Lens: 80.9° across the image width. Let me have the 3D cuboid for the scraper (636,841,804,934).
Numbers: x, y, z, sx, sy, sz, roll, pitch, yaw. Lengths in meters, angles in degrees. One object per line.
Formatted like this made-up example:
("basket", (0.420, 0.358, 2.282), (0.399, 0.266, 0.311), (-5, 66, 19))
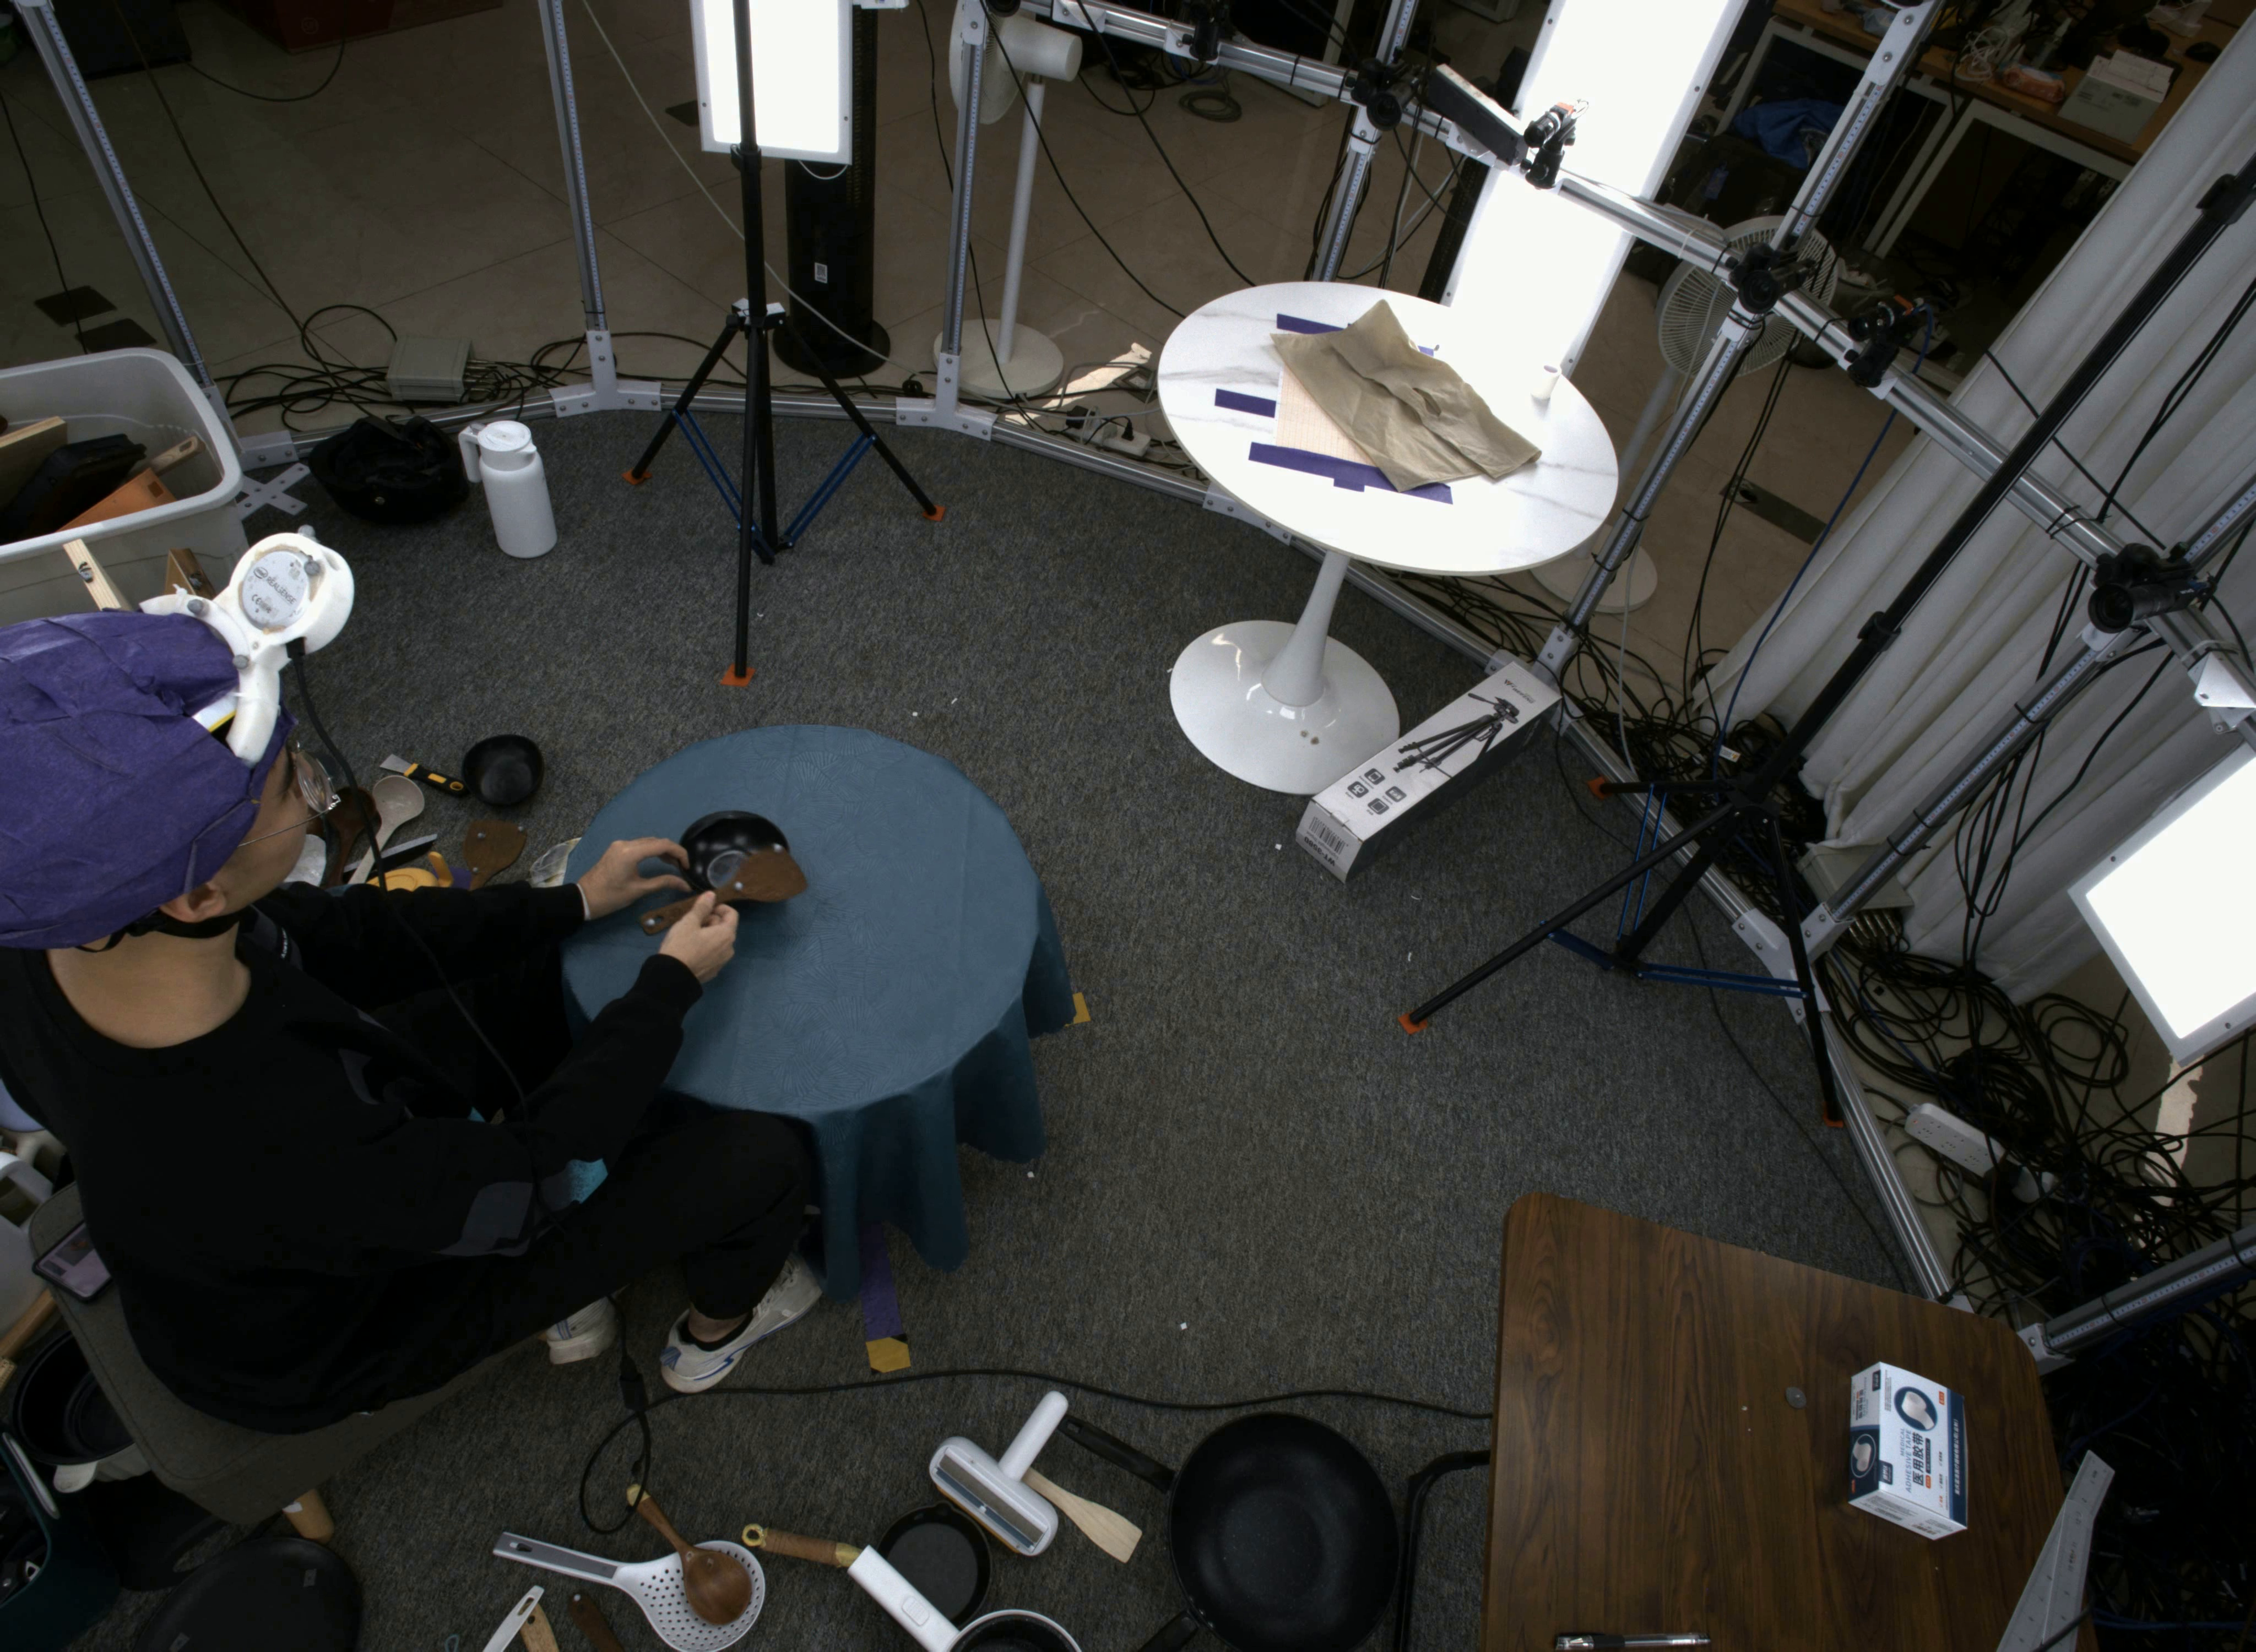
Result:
("scraper", (-0.488, 0.078, 1.536), (0.213, 0.011, 0.075), (-25, 76, -42))

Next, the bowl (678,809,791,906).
("bowl", (-0.500, 0.046, 1.639), (0.140, 0.050, 0.137), (12, 51, -13))
